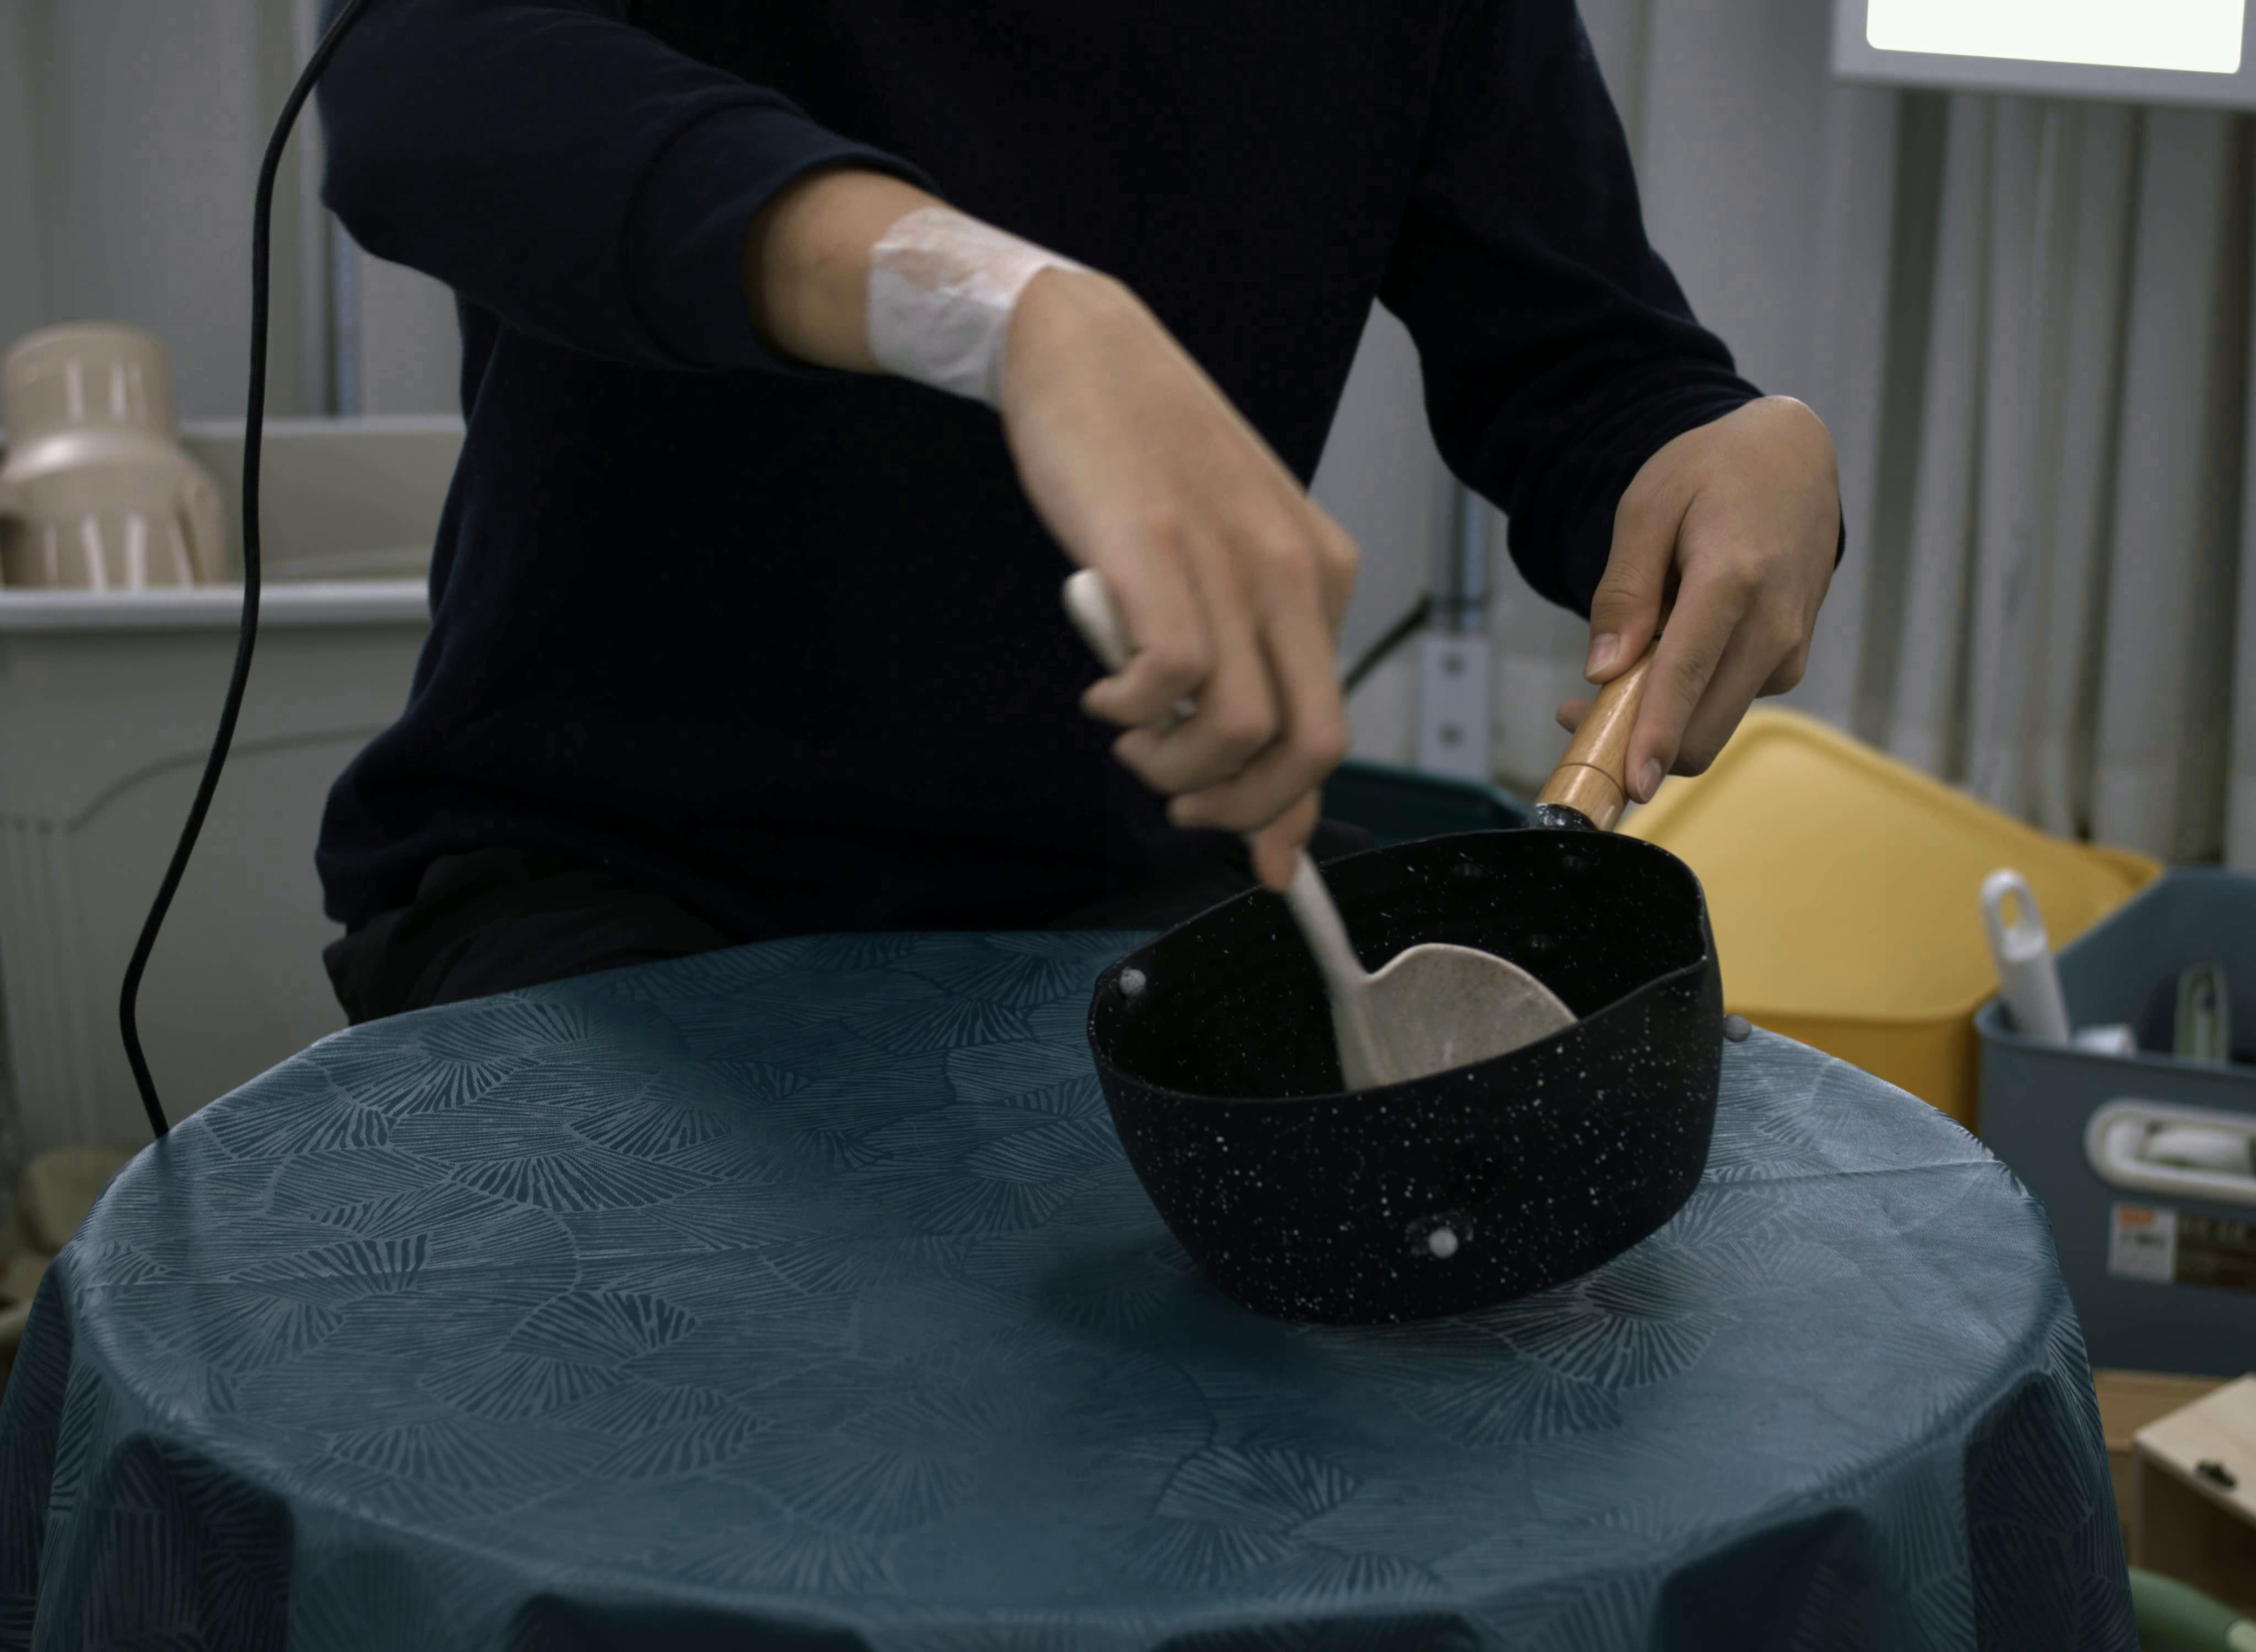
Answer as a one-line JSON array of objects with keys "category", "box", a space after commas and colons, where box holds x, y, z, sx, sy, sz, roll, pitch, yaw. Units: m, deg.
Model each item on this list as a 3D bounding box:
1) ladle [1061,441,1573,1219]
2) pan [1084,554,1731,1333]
[{"category": "ladle", "box": [0.057, -0.002, 1.410, 0.069, 0.279, 0.089, -3, 45, 22]}, {"category": "pan", "box": [0.118, 0.032, 1.601, 0.205, 0.109, 0.342, -4, 24, 30]}]
